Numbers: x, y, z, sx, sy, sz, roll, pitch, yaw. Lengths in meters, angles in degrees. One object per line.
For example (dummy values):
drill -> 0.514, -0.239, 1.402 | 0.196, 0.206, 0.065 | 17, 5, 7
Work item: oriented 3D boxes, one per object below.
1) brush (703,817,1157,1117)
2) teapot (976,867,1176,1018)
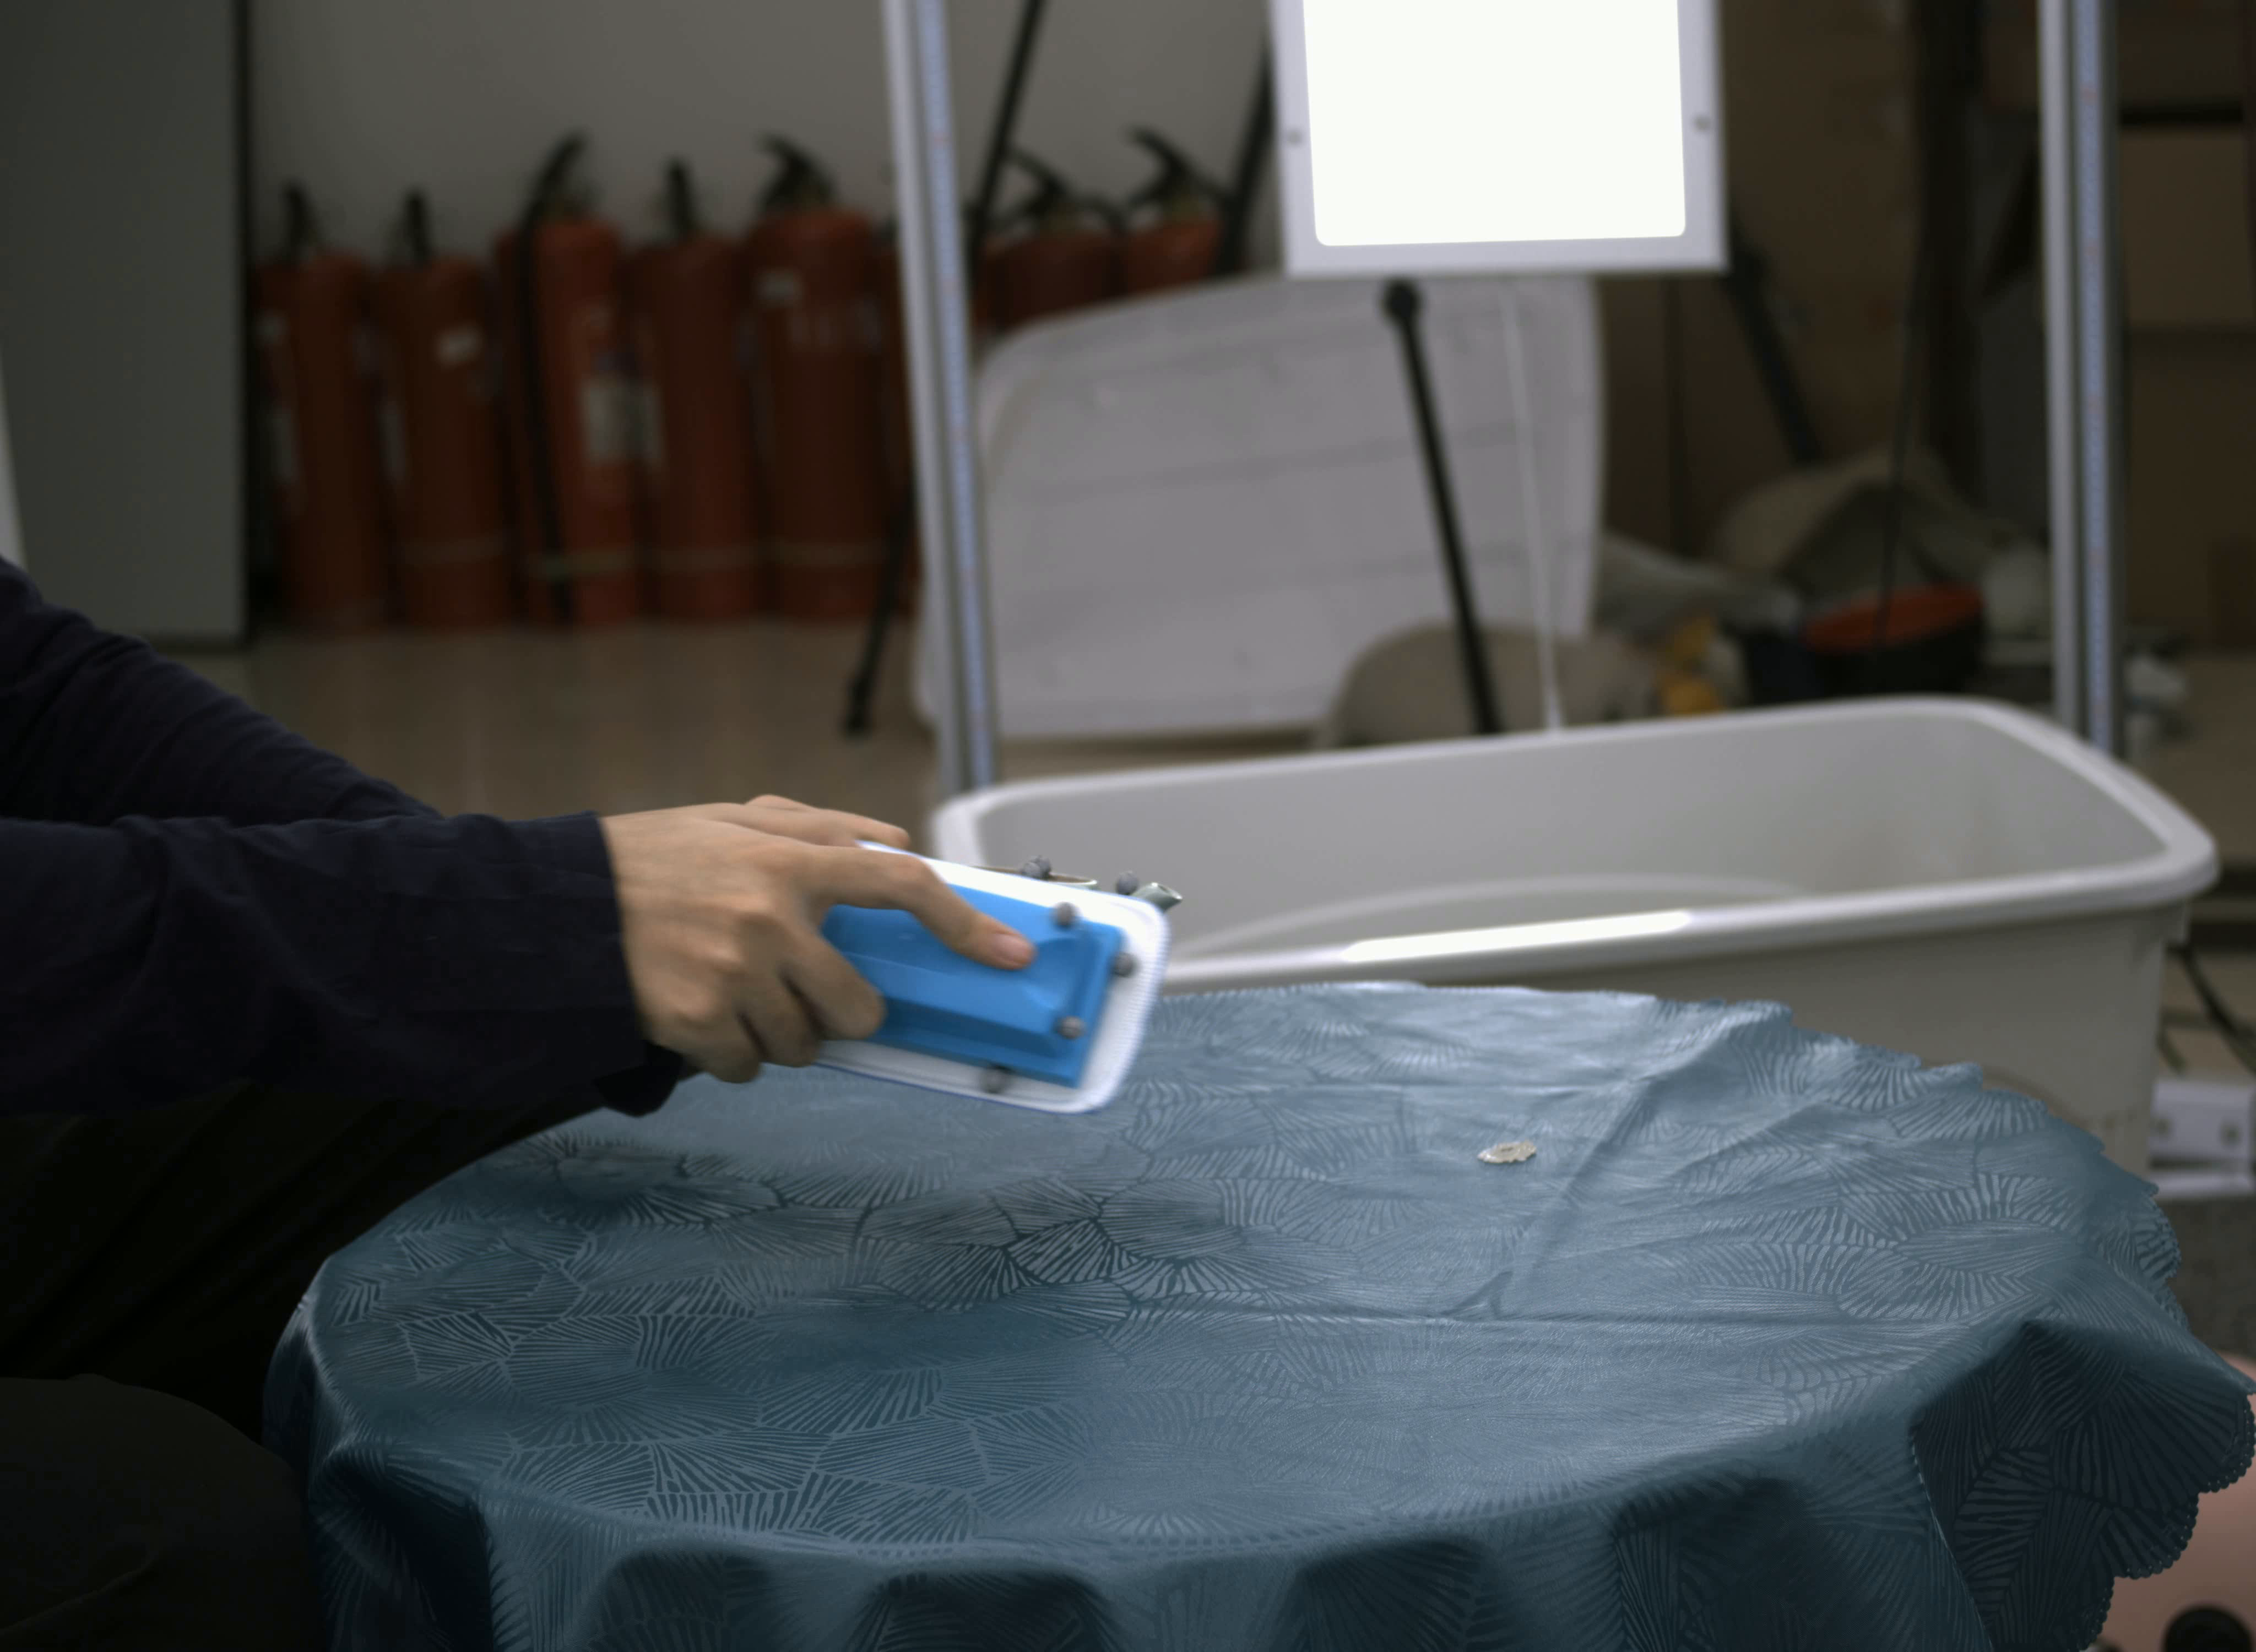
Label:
brush -> -0.067, 0.041, 1.809 | 0.145, 0.083, 0.056 | 15, -22, 17
teapot -> -0.050, 0.043, 1.878 | 0.139, 0.061, 0.094 | 7, 4, 24
